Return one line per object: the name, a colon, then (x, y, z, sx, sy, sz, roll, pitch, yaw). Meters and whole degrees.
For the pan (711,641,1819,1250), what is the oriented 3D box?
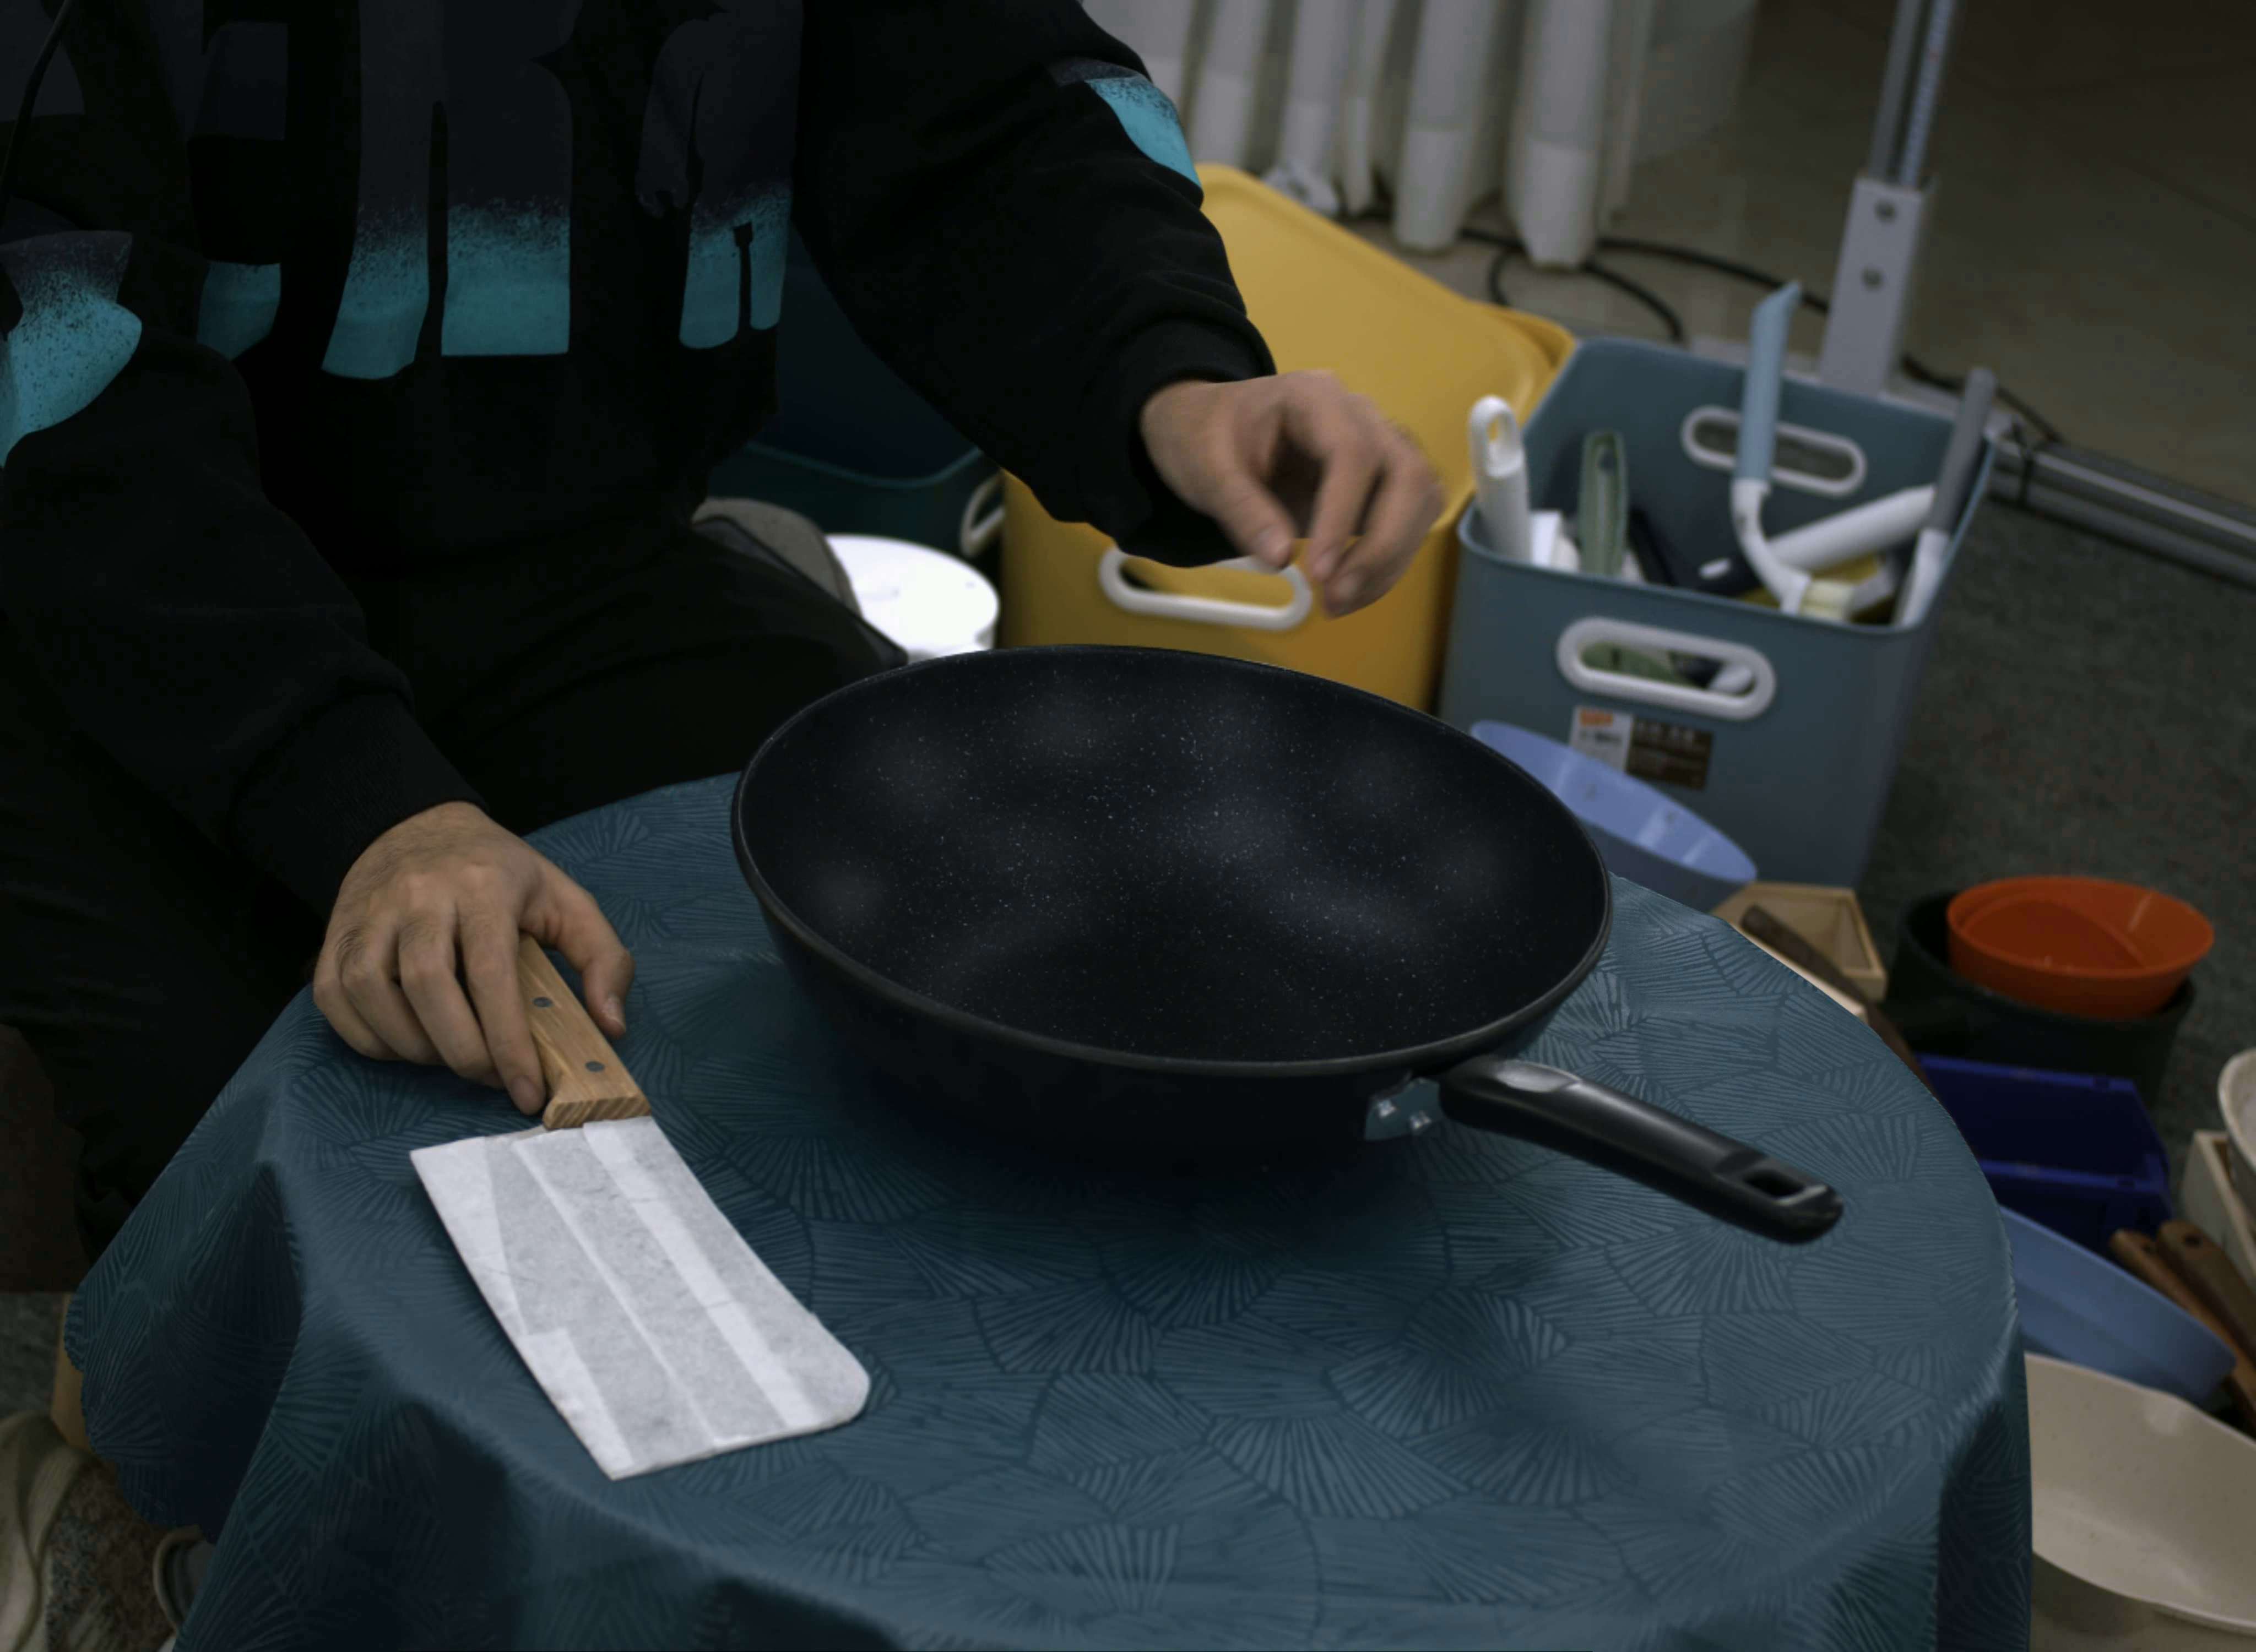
pan: (0.058, 0.066, 1.812, 0.308, 0.111, 0.481, -16, 34, -34)

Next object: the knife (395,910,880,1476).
knife: (-0.178, 0.116, 1.758, 0.113, 0.021, 0.318, -6, 32, -22)
